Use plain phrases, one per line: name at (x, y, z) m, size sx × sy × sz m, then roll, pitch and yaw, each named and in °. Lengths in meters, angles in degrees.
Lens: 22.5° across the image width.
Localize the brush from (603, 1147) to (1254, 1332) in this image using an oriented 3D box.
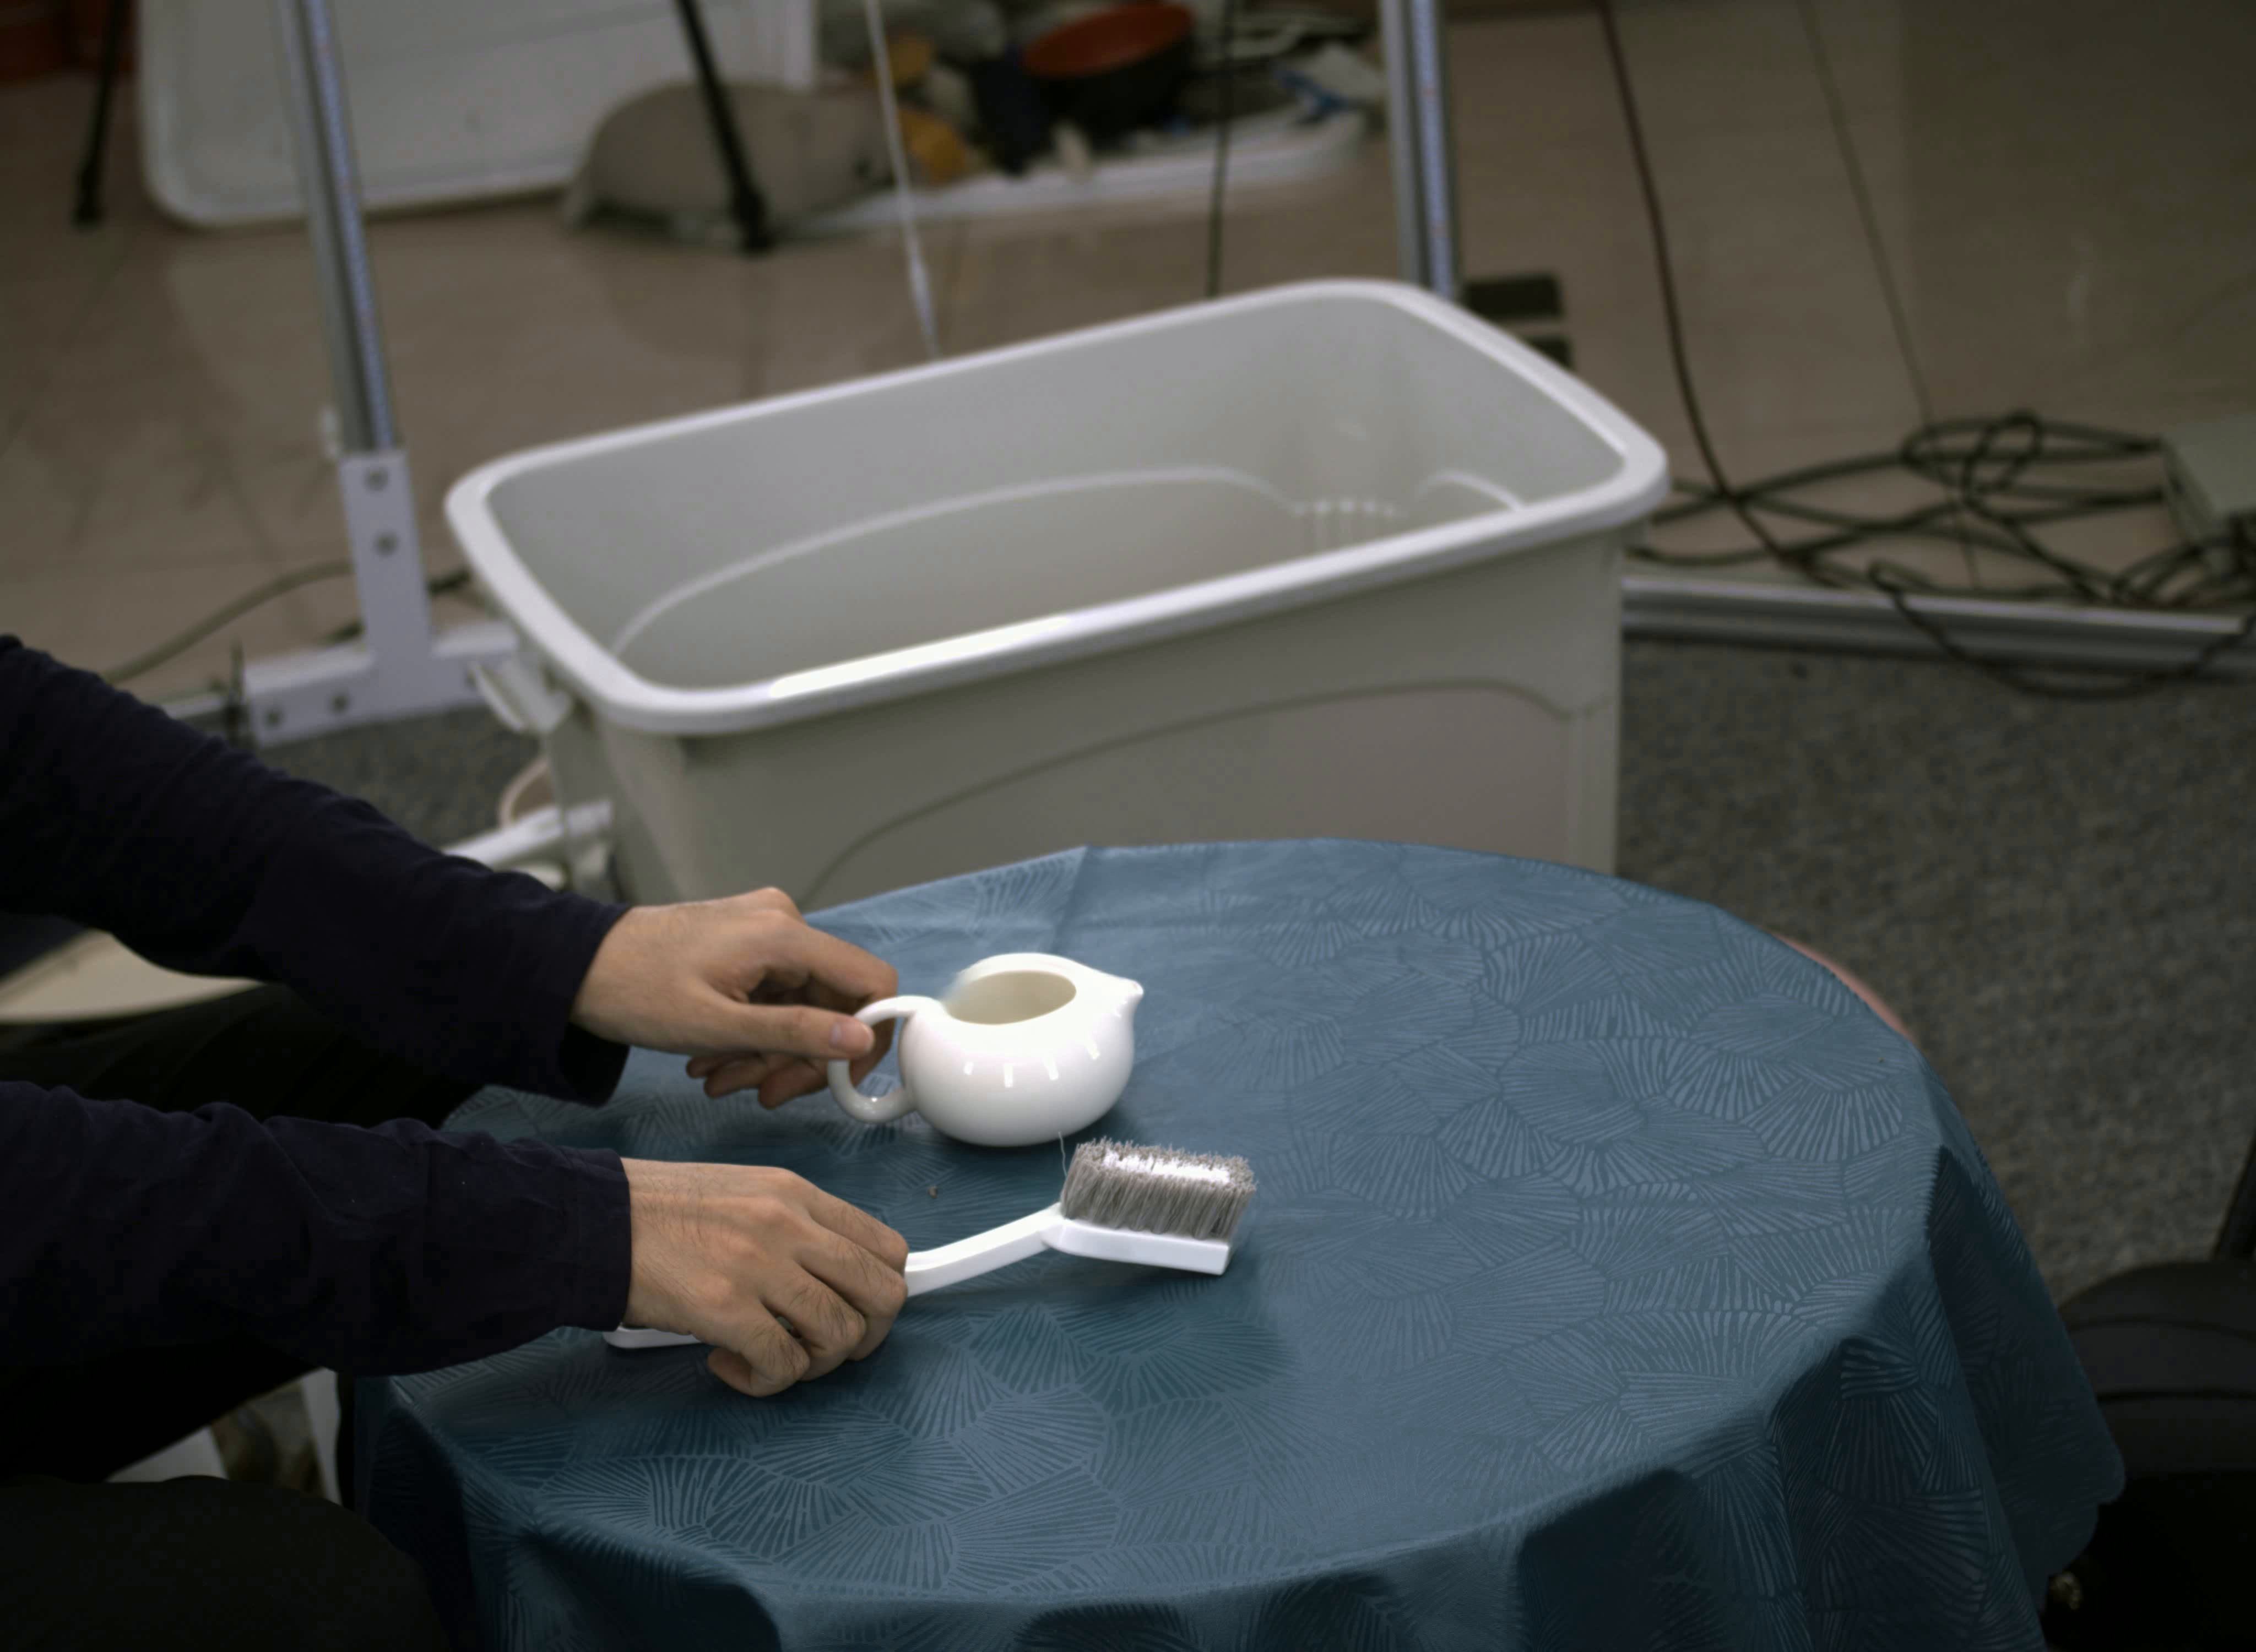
brush at (-0.074, 0.151, 2.082) m, size 0.243 × 0.051 × 0.034 m, roll -6°, pitch 30°, yaw 1°

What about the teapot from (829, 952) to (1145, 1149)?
teapot at (-0.054, 0.089, 2.205) m, size 0.127 × 0.057 × 0.092 m, roll -8°, pitch 29°, yaw 1°
